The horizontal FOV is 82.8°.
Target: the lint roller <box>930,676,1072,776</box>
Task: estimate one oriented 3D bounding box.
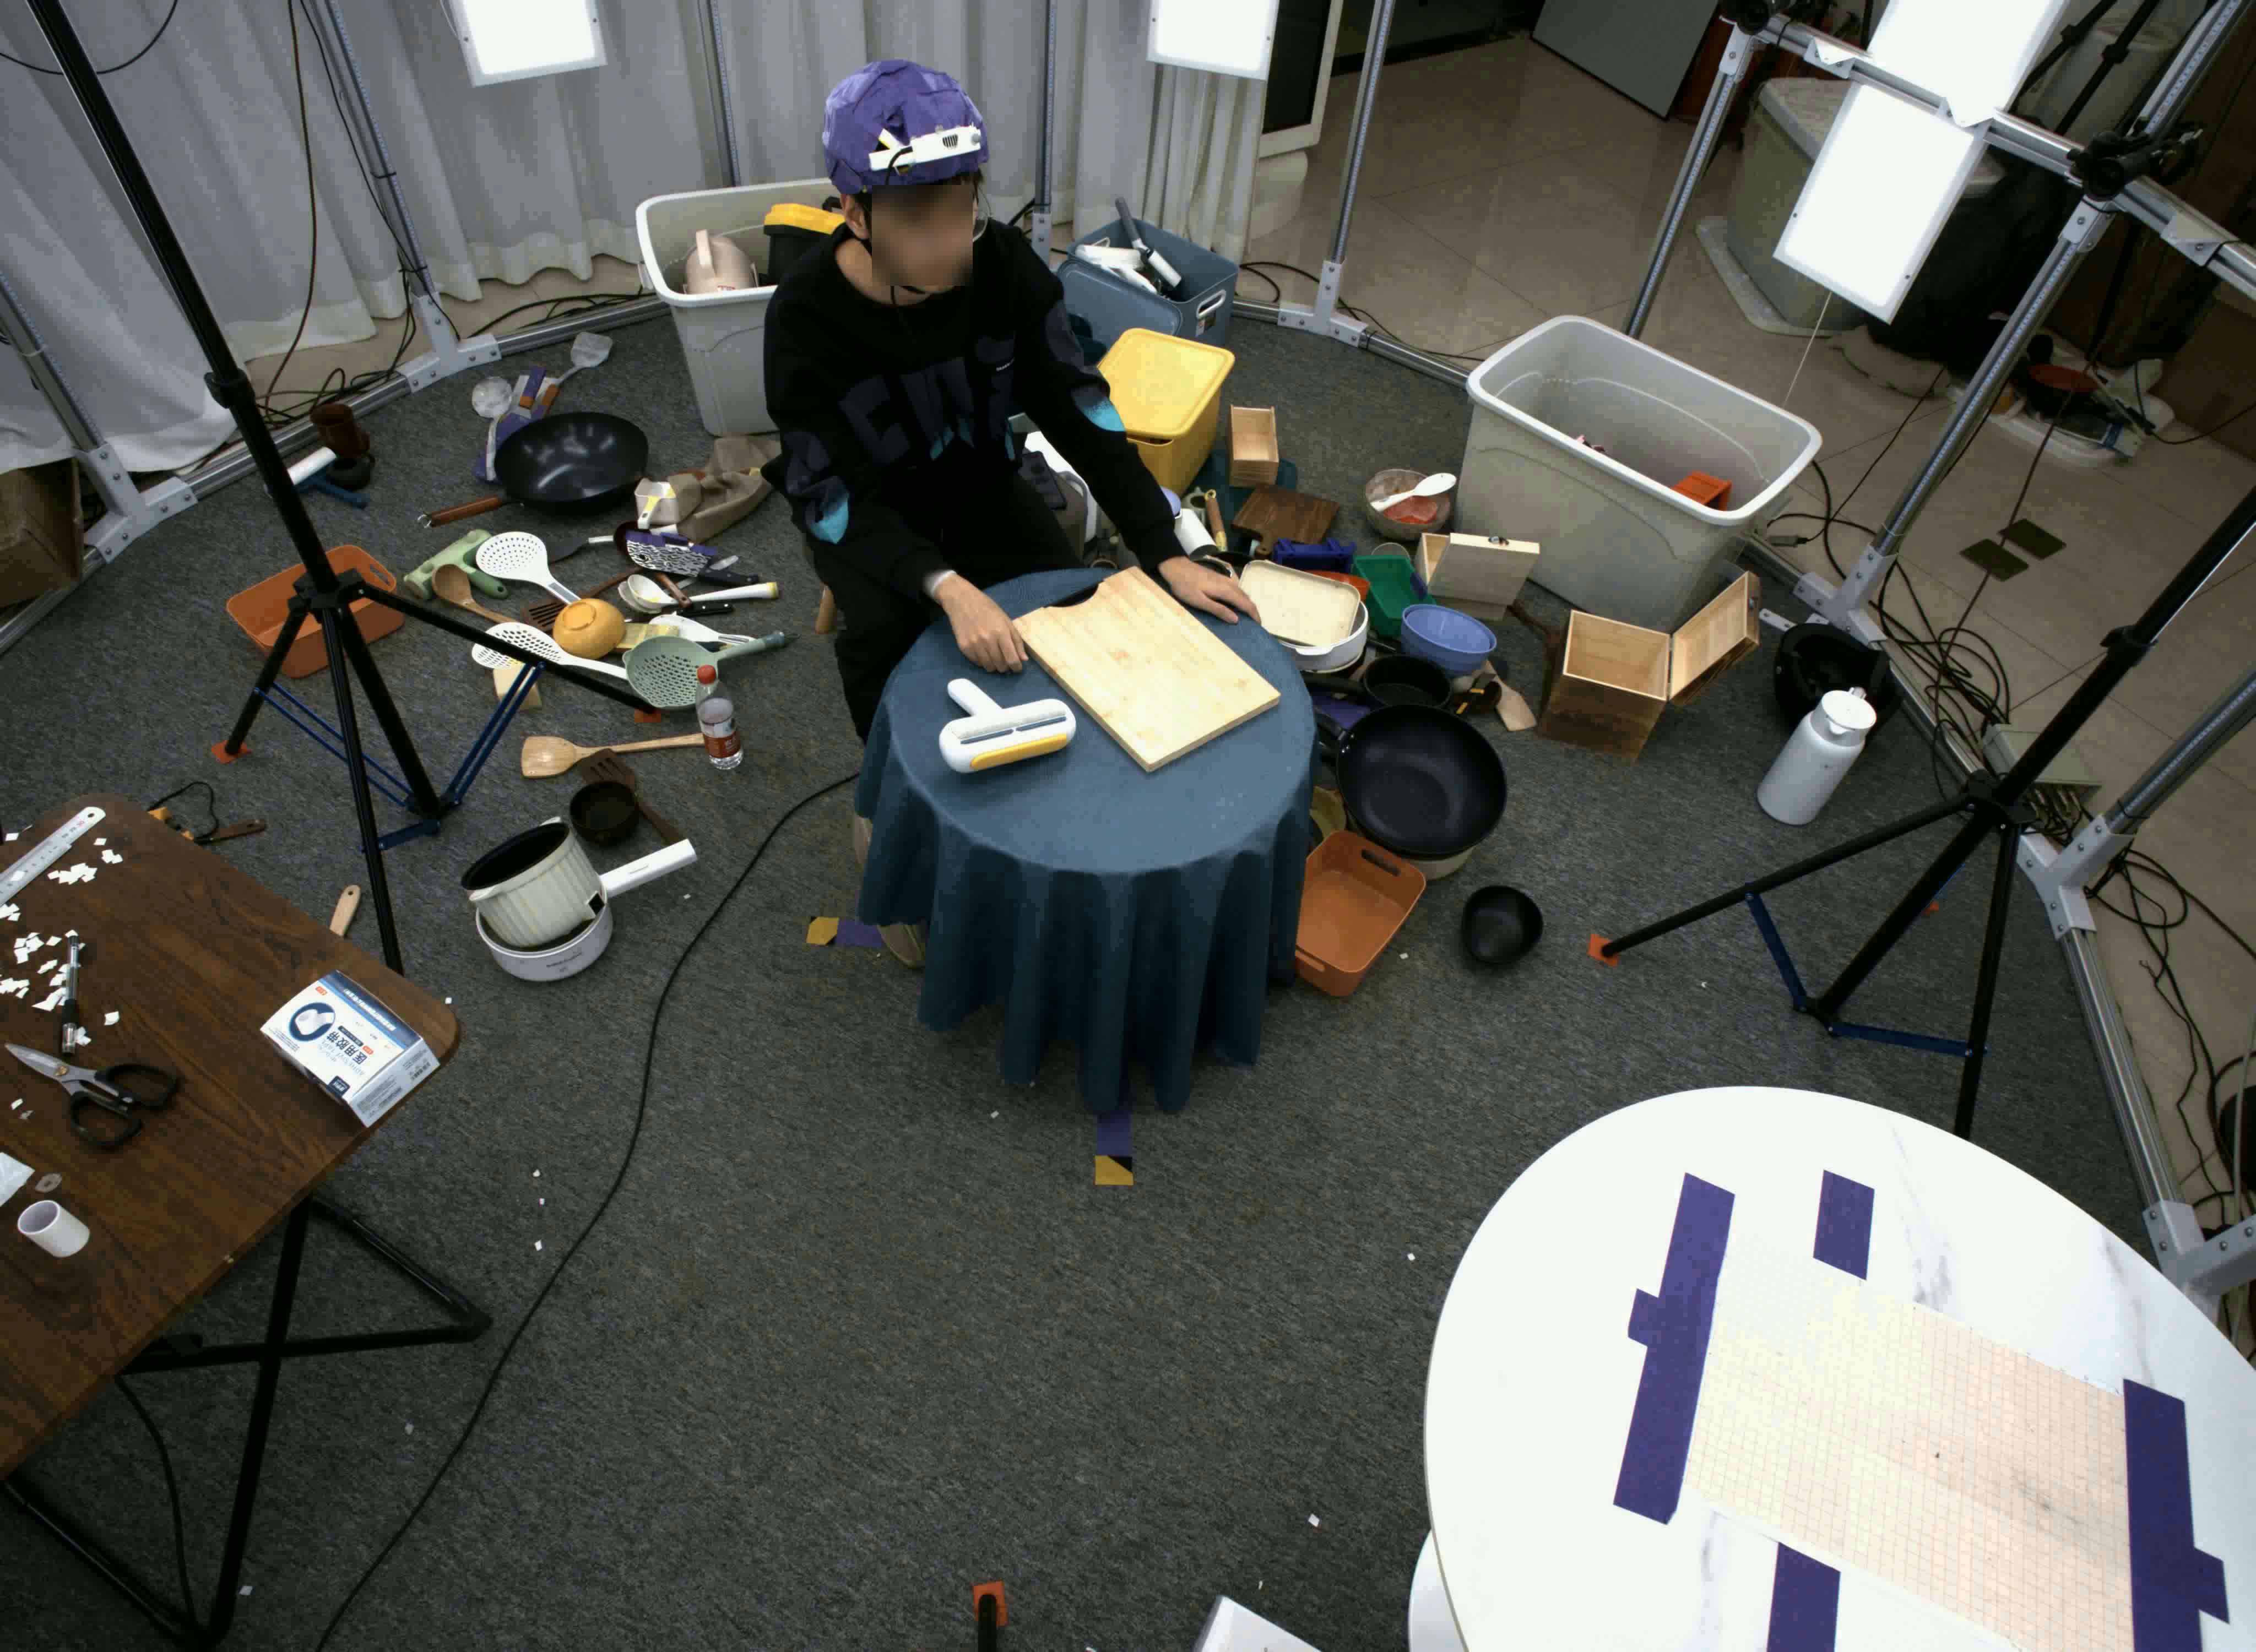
[{"bbox_3d":[-0.193,-0.153,1.745,0.193,0.072,0.197,-16,50,-23],"label":"lint roller"}]

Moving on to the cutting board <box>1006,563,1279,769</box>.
[{"bbox_3d":[0.017,-0.241,1.868,0.252,0.023,0.355,-29,57,-25],"label":"cutting board"}]
